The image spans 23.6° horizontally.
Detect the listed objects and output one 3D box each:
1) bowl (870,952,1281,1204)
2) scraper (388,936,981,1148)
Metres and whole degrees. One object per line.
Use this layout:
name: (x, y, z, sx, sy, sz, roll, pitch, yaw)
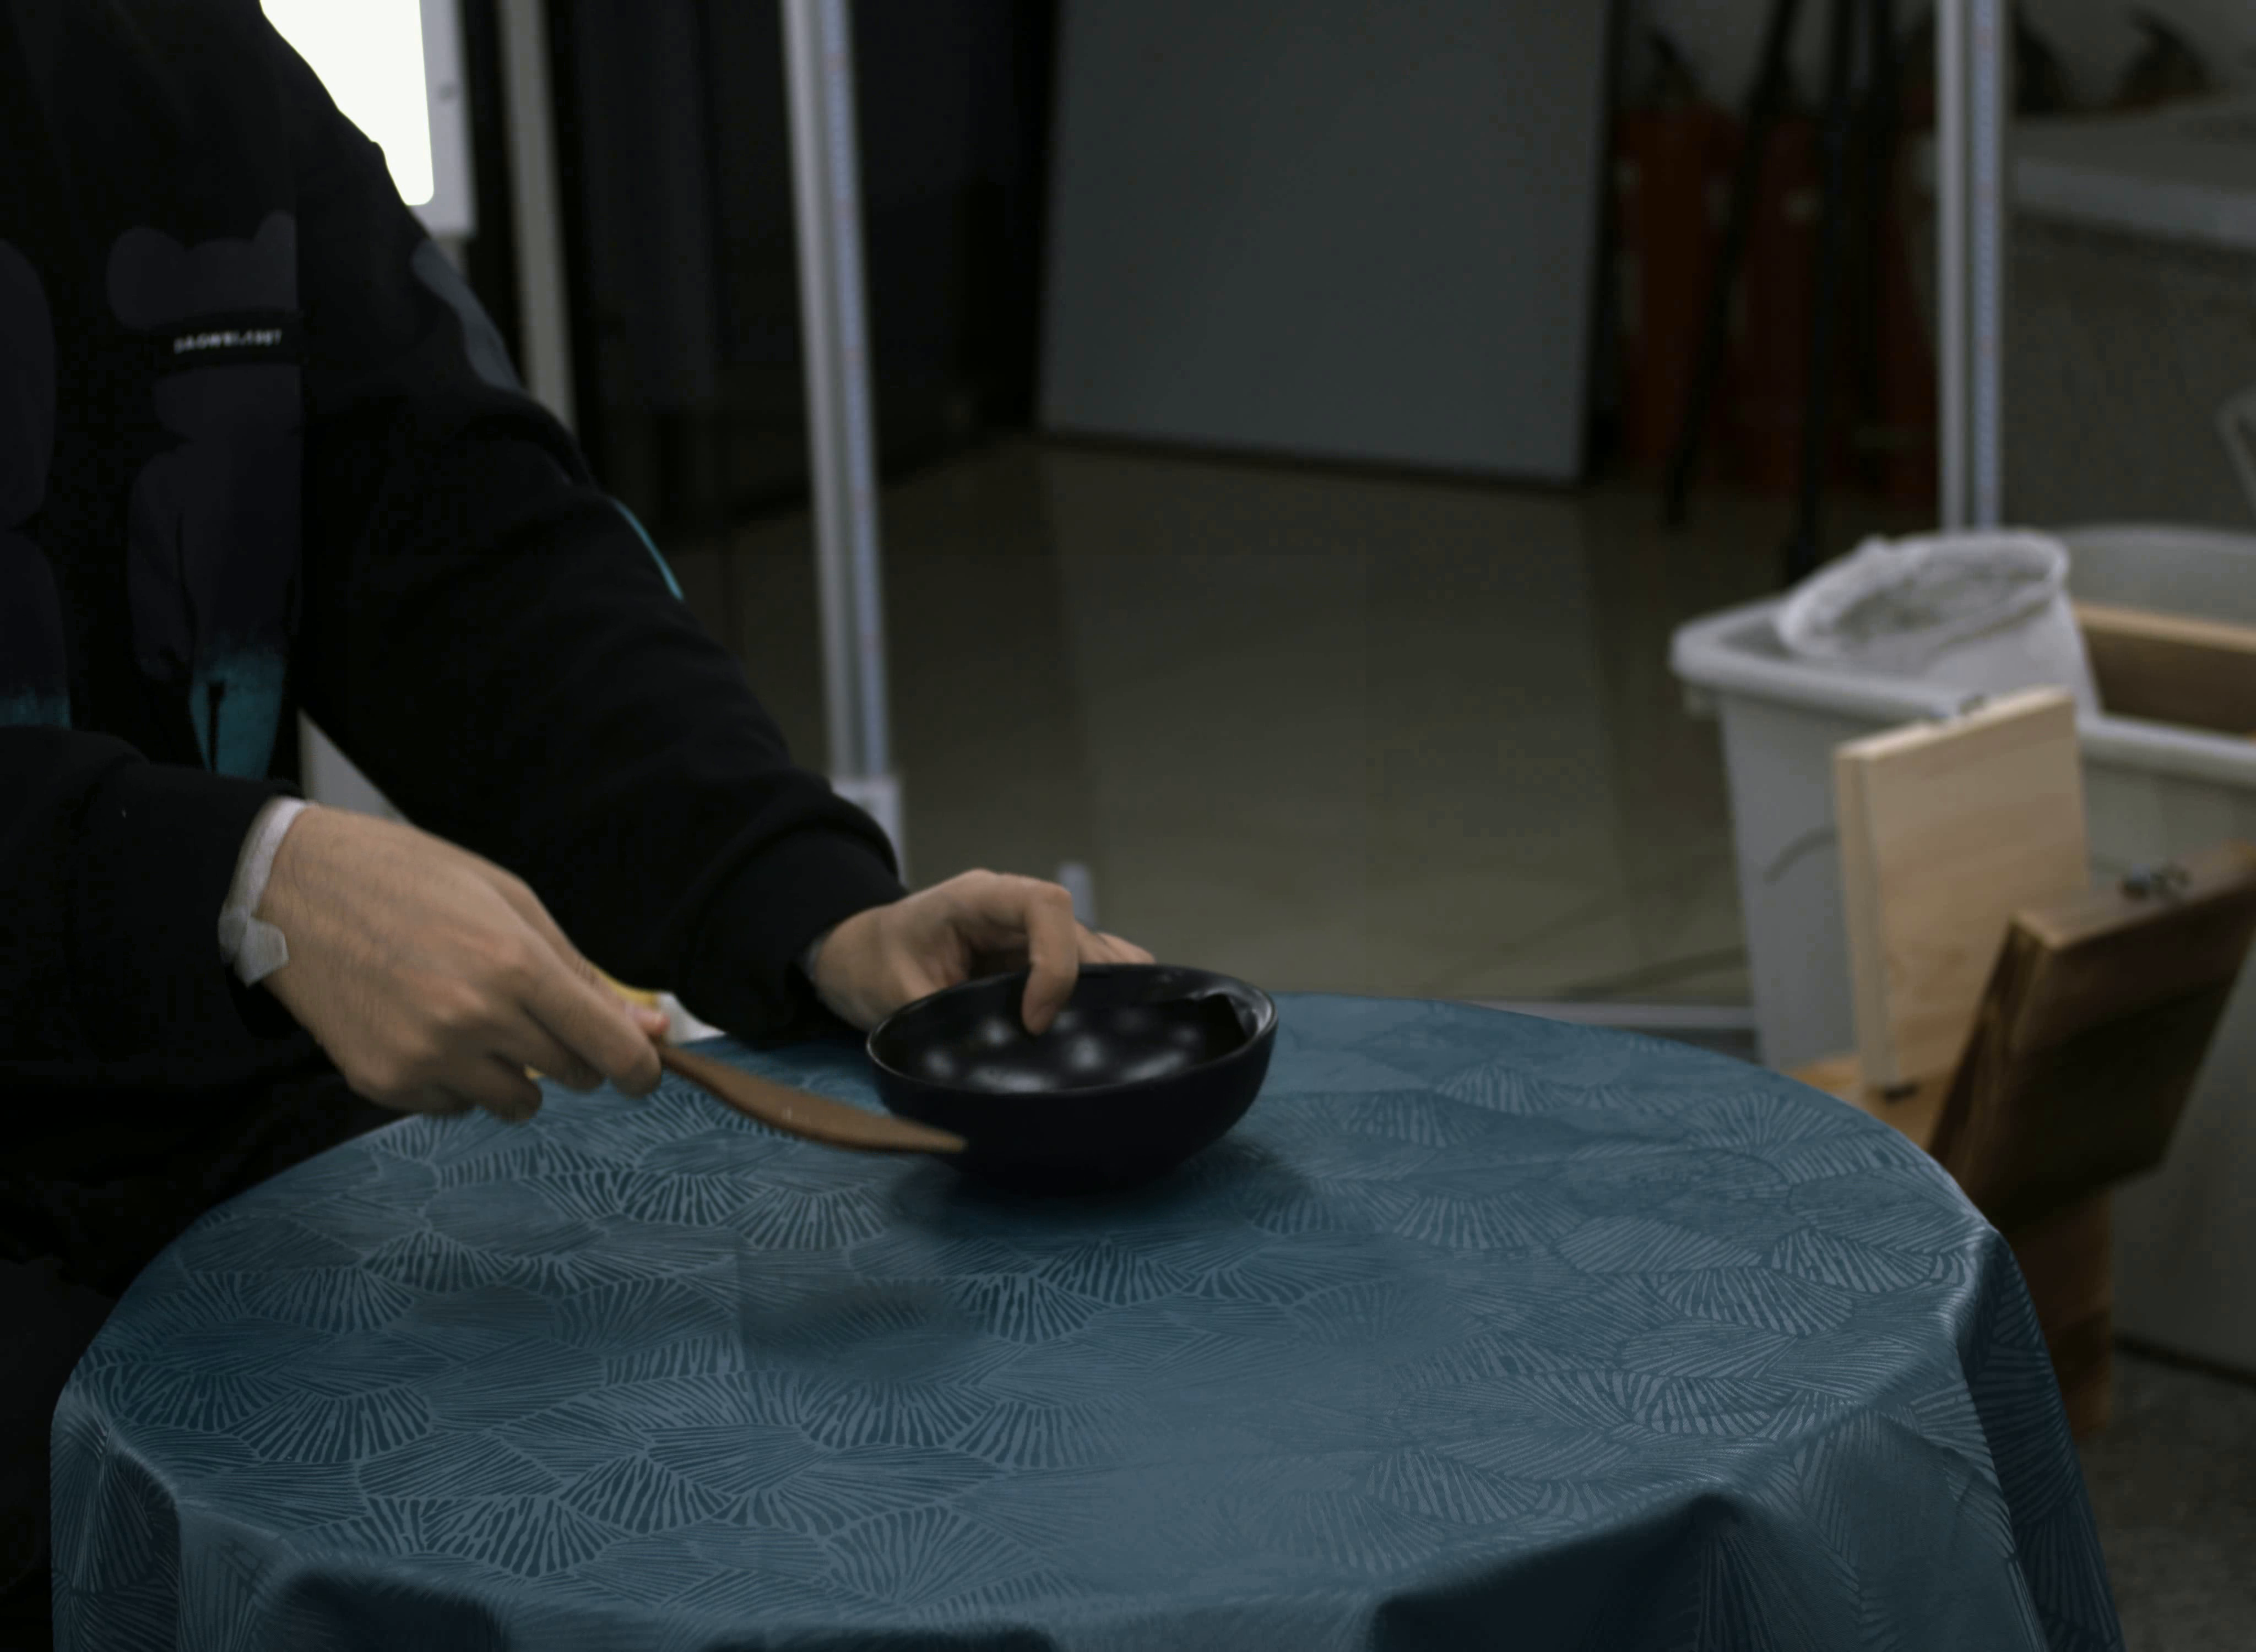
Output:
bowl: (-0.015, 0.089, 1.795, 0.138, 0.050, 0.140, -6, 18, 1)
scraper: (-0.145, 0.069, 1.705, 0.212, 0.011, 0.074, 19, 6, 27)
